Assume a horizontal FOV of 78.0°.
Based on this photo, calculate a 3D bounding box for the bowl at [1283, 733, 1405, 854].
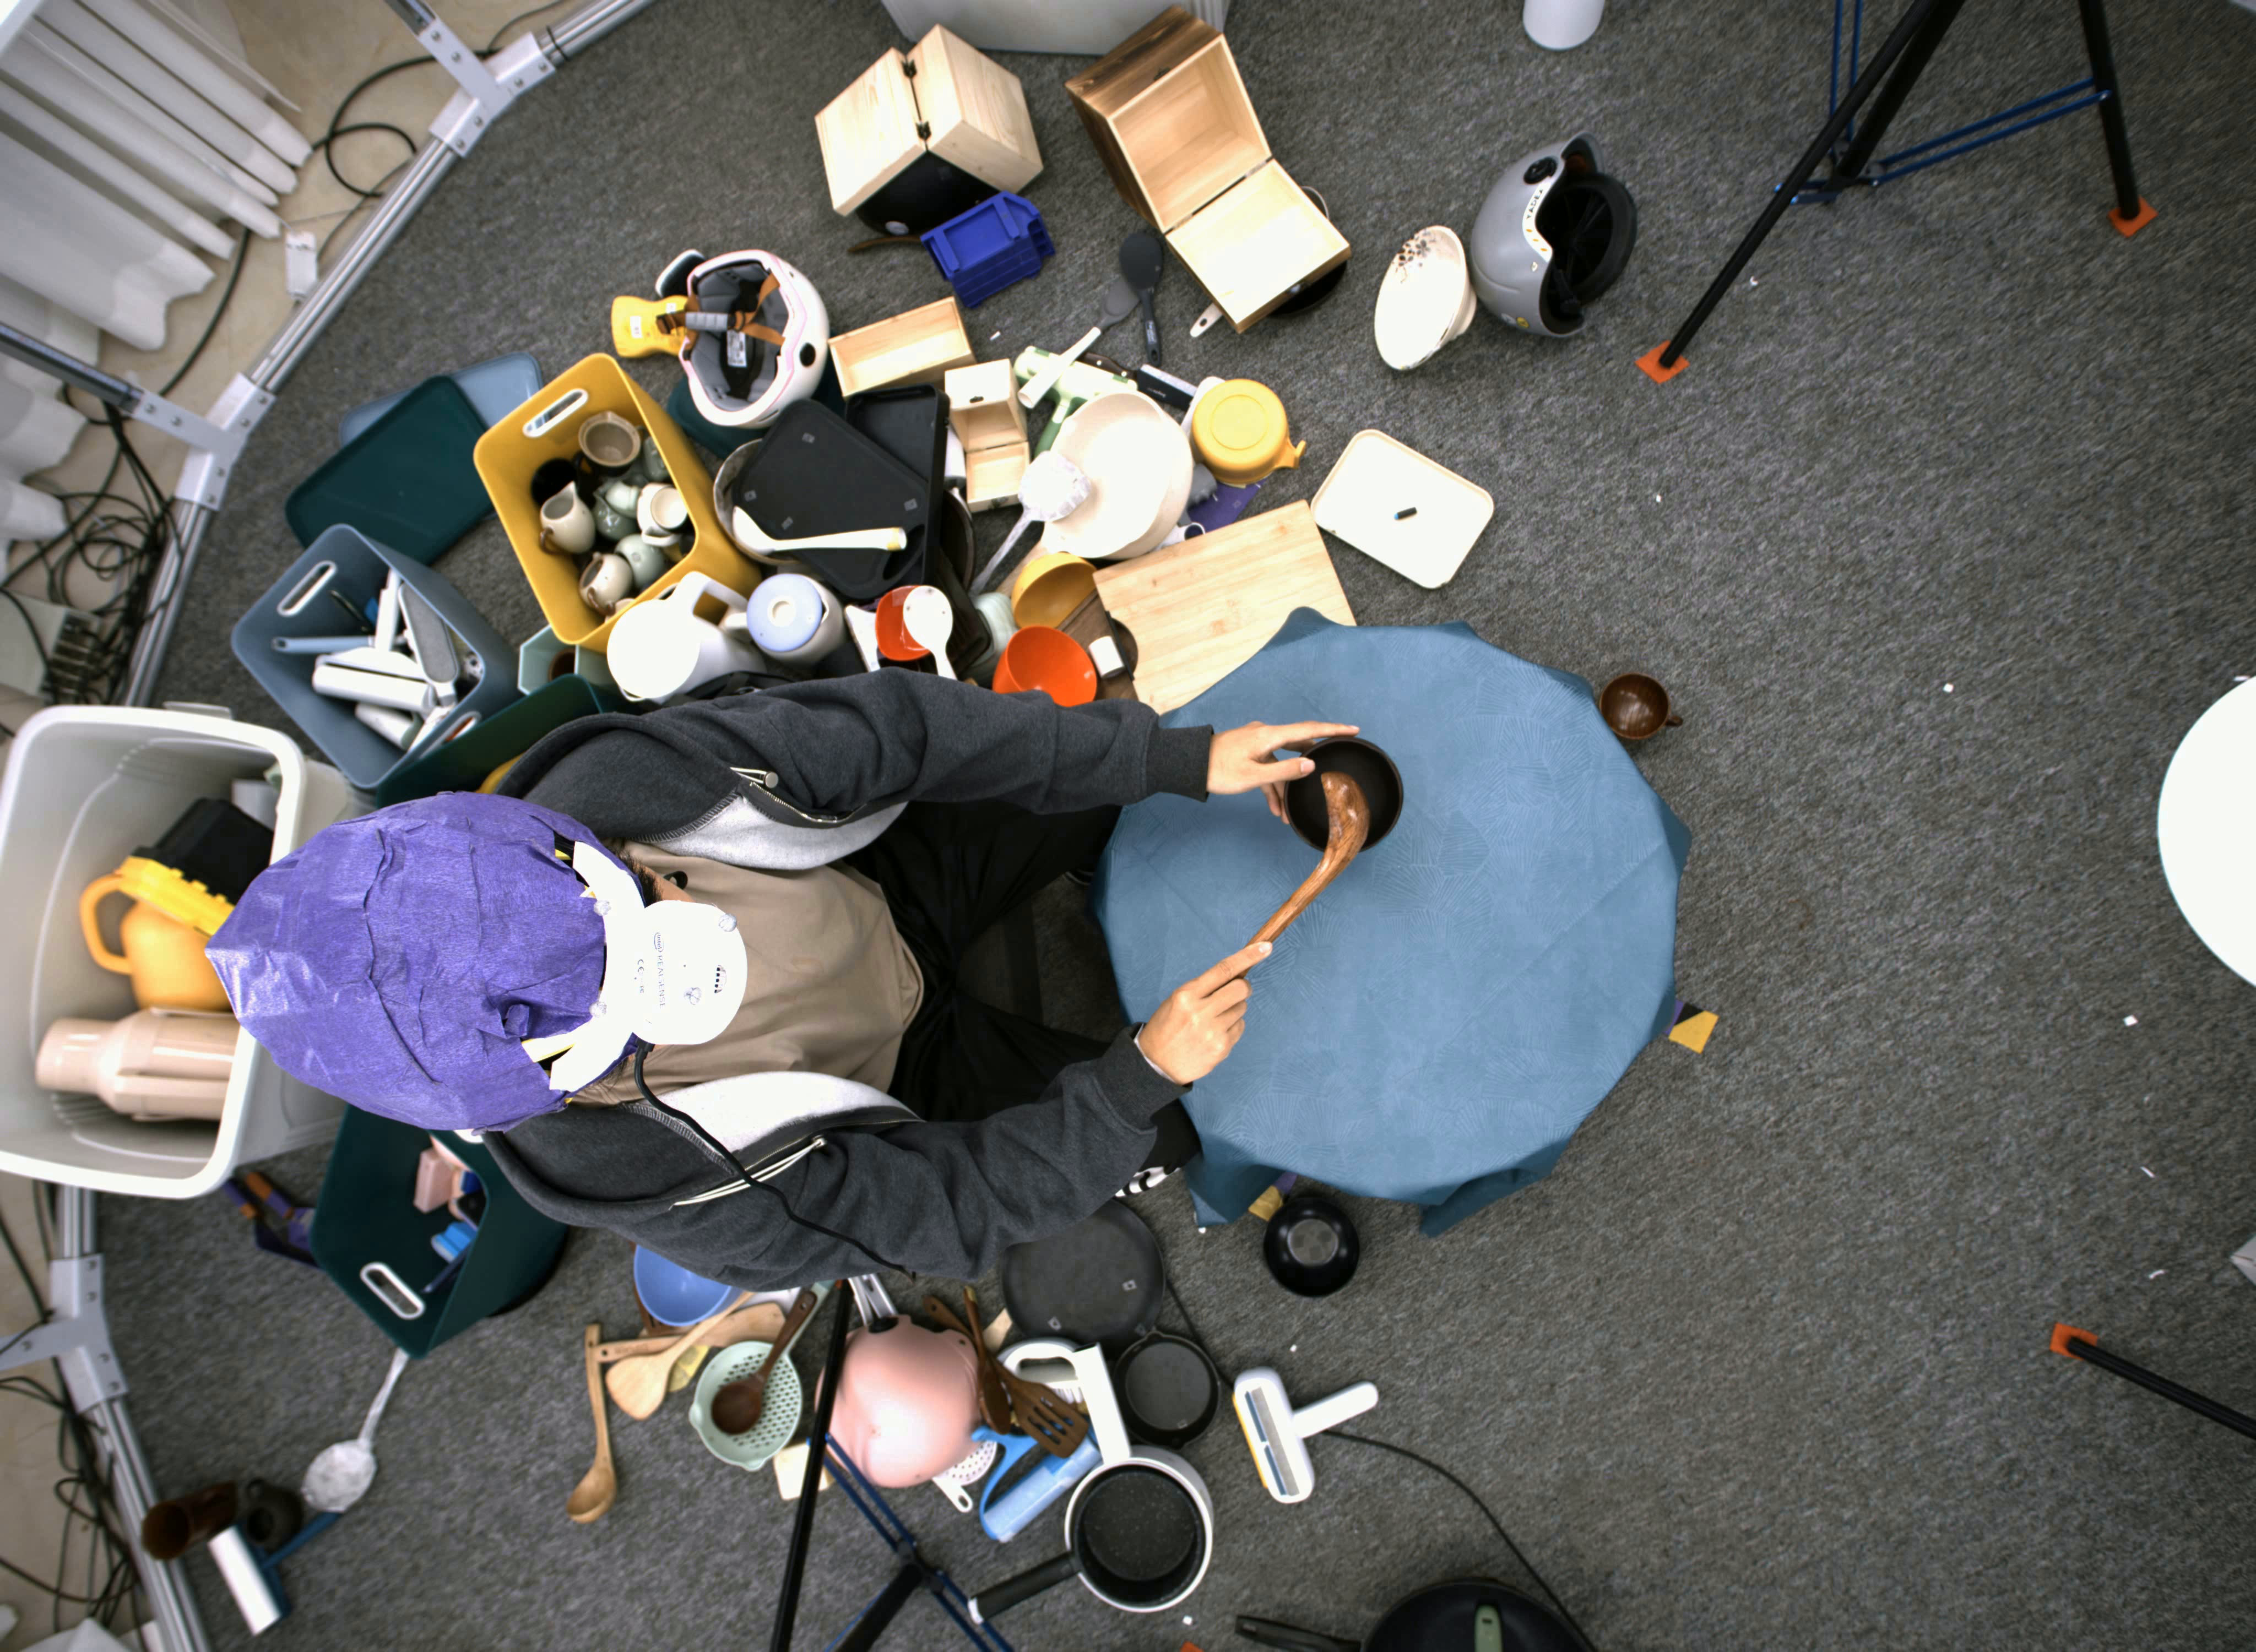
[{"bbox_3d":[0.213,-0.035,1.361,0.118,0.069,0.119,2,100,12],"label":"bowl"}]

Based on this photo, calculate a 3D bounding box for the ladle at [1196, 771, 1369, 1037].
[{"bbox_3d":[0.132,0.067,1.289,0.273,0.083,0.076,-50,50,-2],"label":"ladle"}]
